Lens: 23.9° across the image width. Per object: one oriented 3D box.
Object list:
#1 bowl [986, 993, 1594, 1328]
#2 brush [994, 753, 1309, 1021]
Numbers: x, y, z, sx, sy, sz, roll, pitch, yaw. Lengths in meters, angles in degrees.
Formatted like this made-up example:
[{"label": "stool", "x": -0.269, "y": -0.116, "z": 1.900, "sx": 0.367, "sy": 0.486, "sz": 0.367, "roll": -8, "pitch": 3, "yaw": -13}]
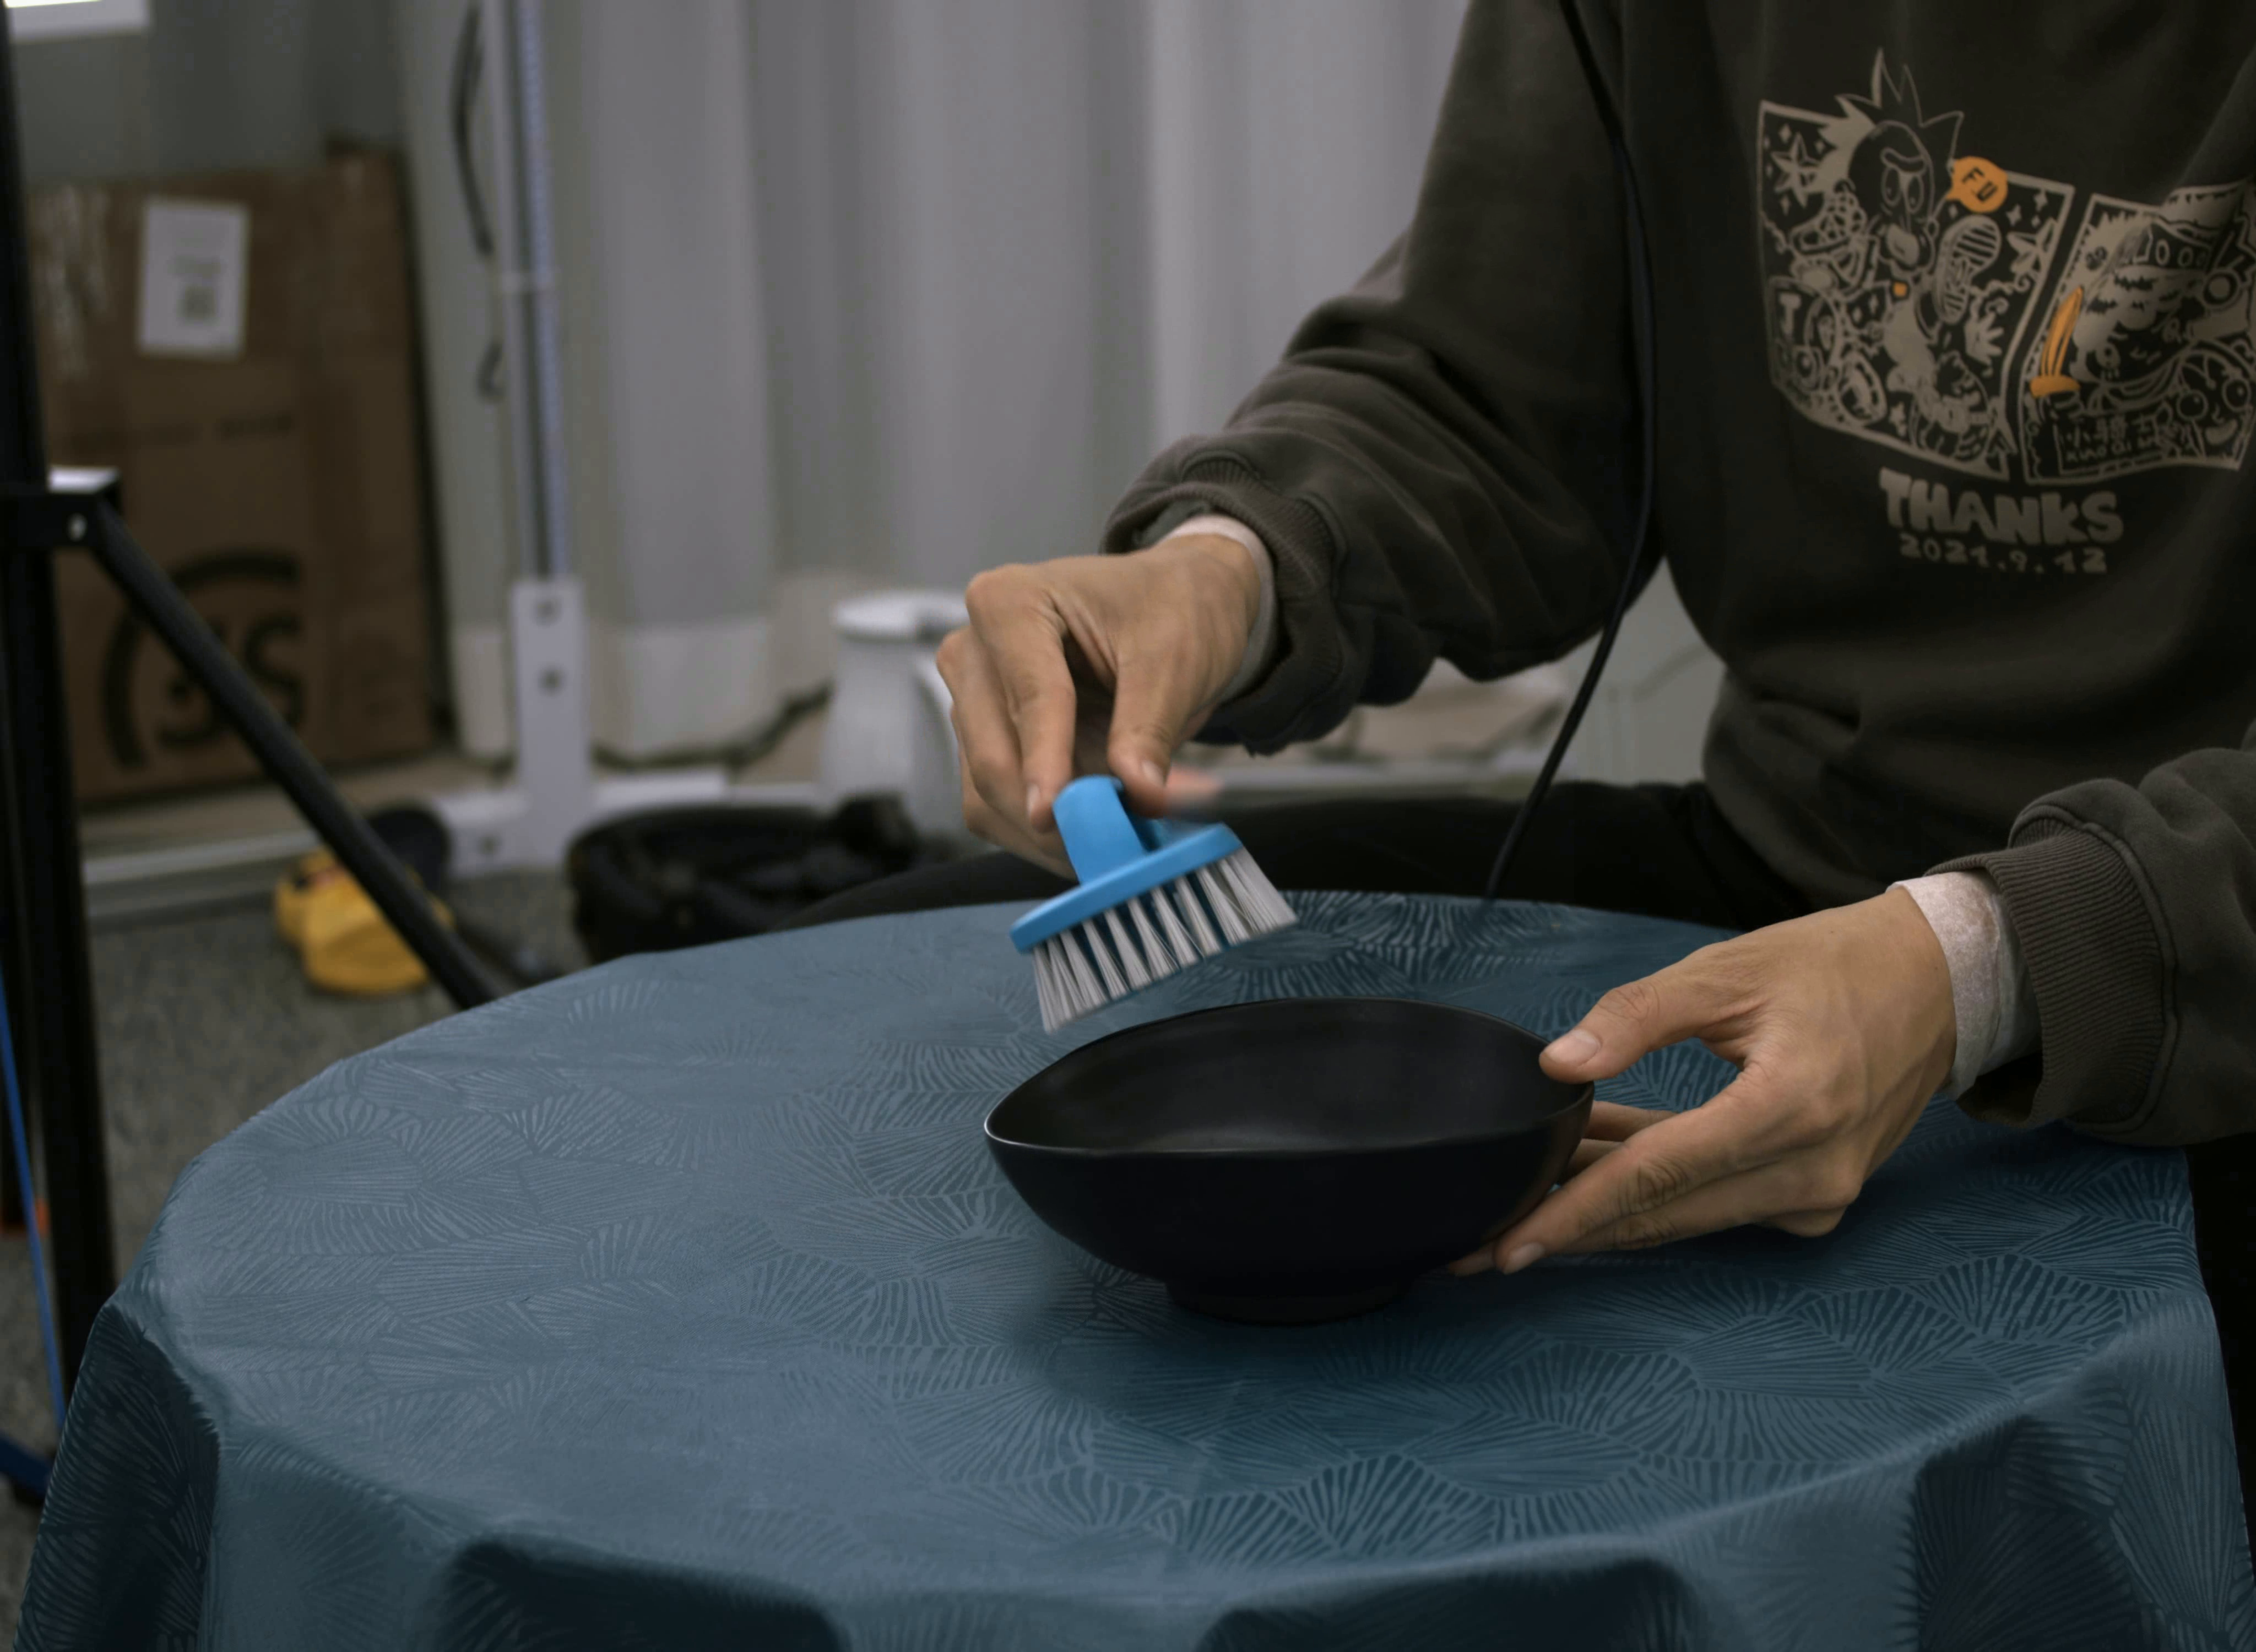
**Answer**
[{"label": "bowl", "x": 0.046, "y": 0.098, "z": 1.473, "sx": 0.170, "sy": 0.066, "sz": 0.137, "roll": -3, "pitch": 15, "yaw": 6}, {"label": "brush", "x": 0.001, "y": 0.010, "z": 1.566, "sx": 0.084, "sy": 0.064, "sz": 0.141, "roll": -29, "pitch": -4, "yaw": 7}]
